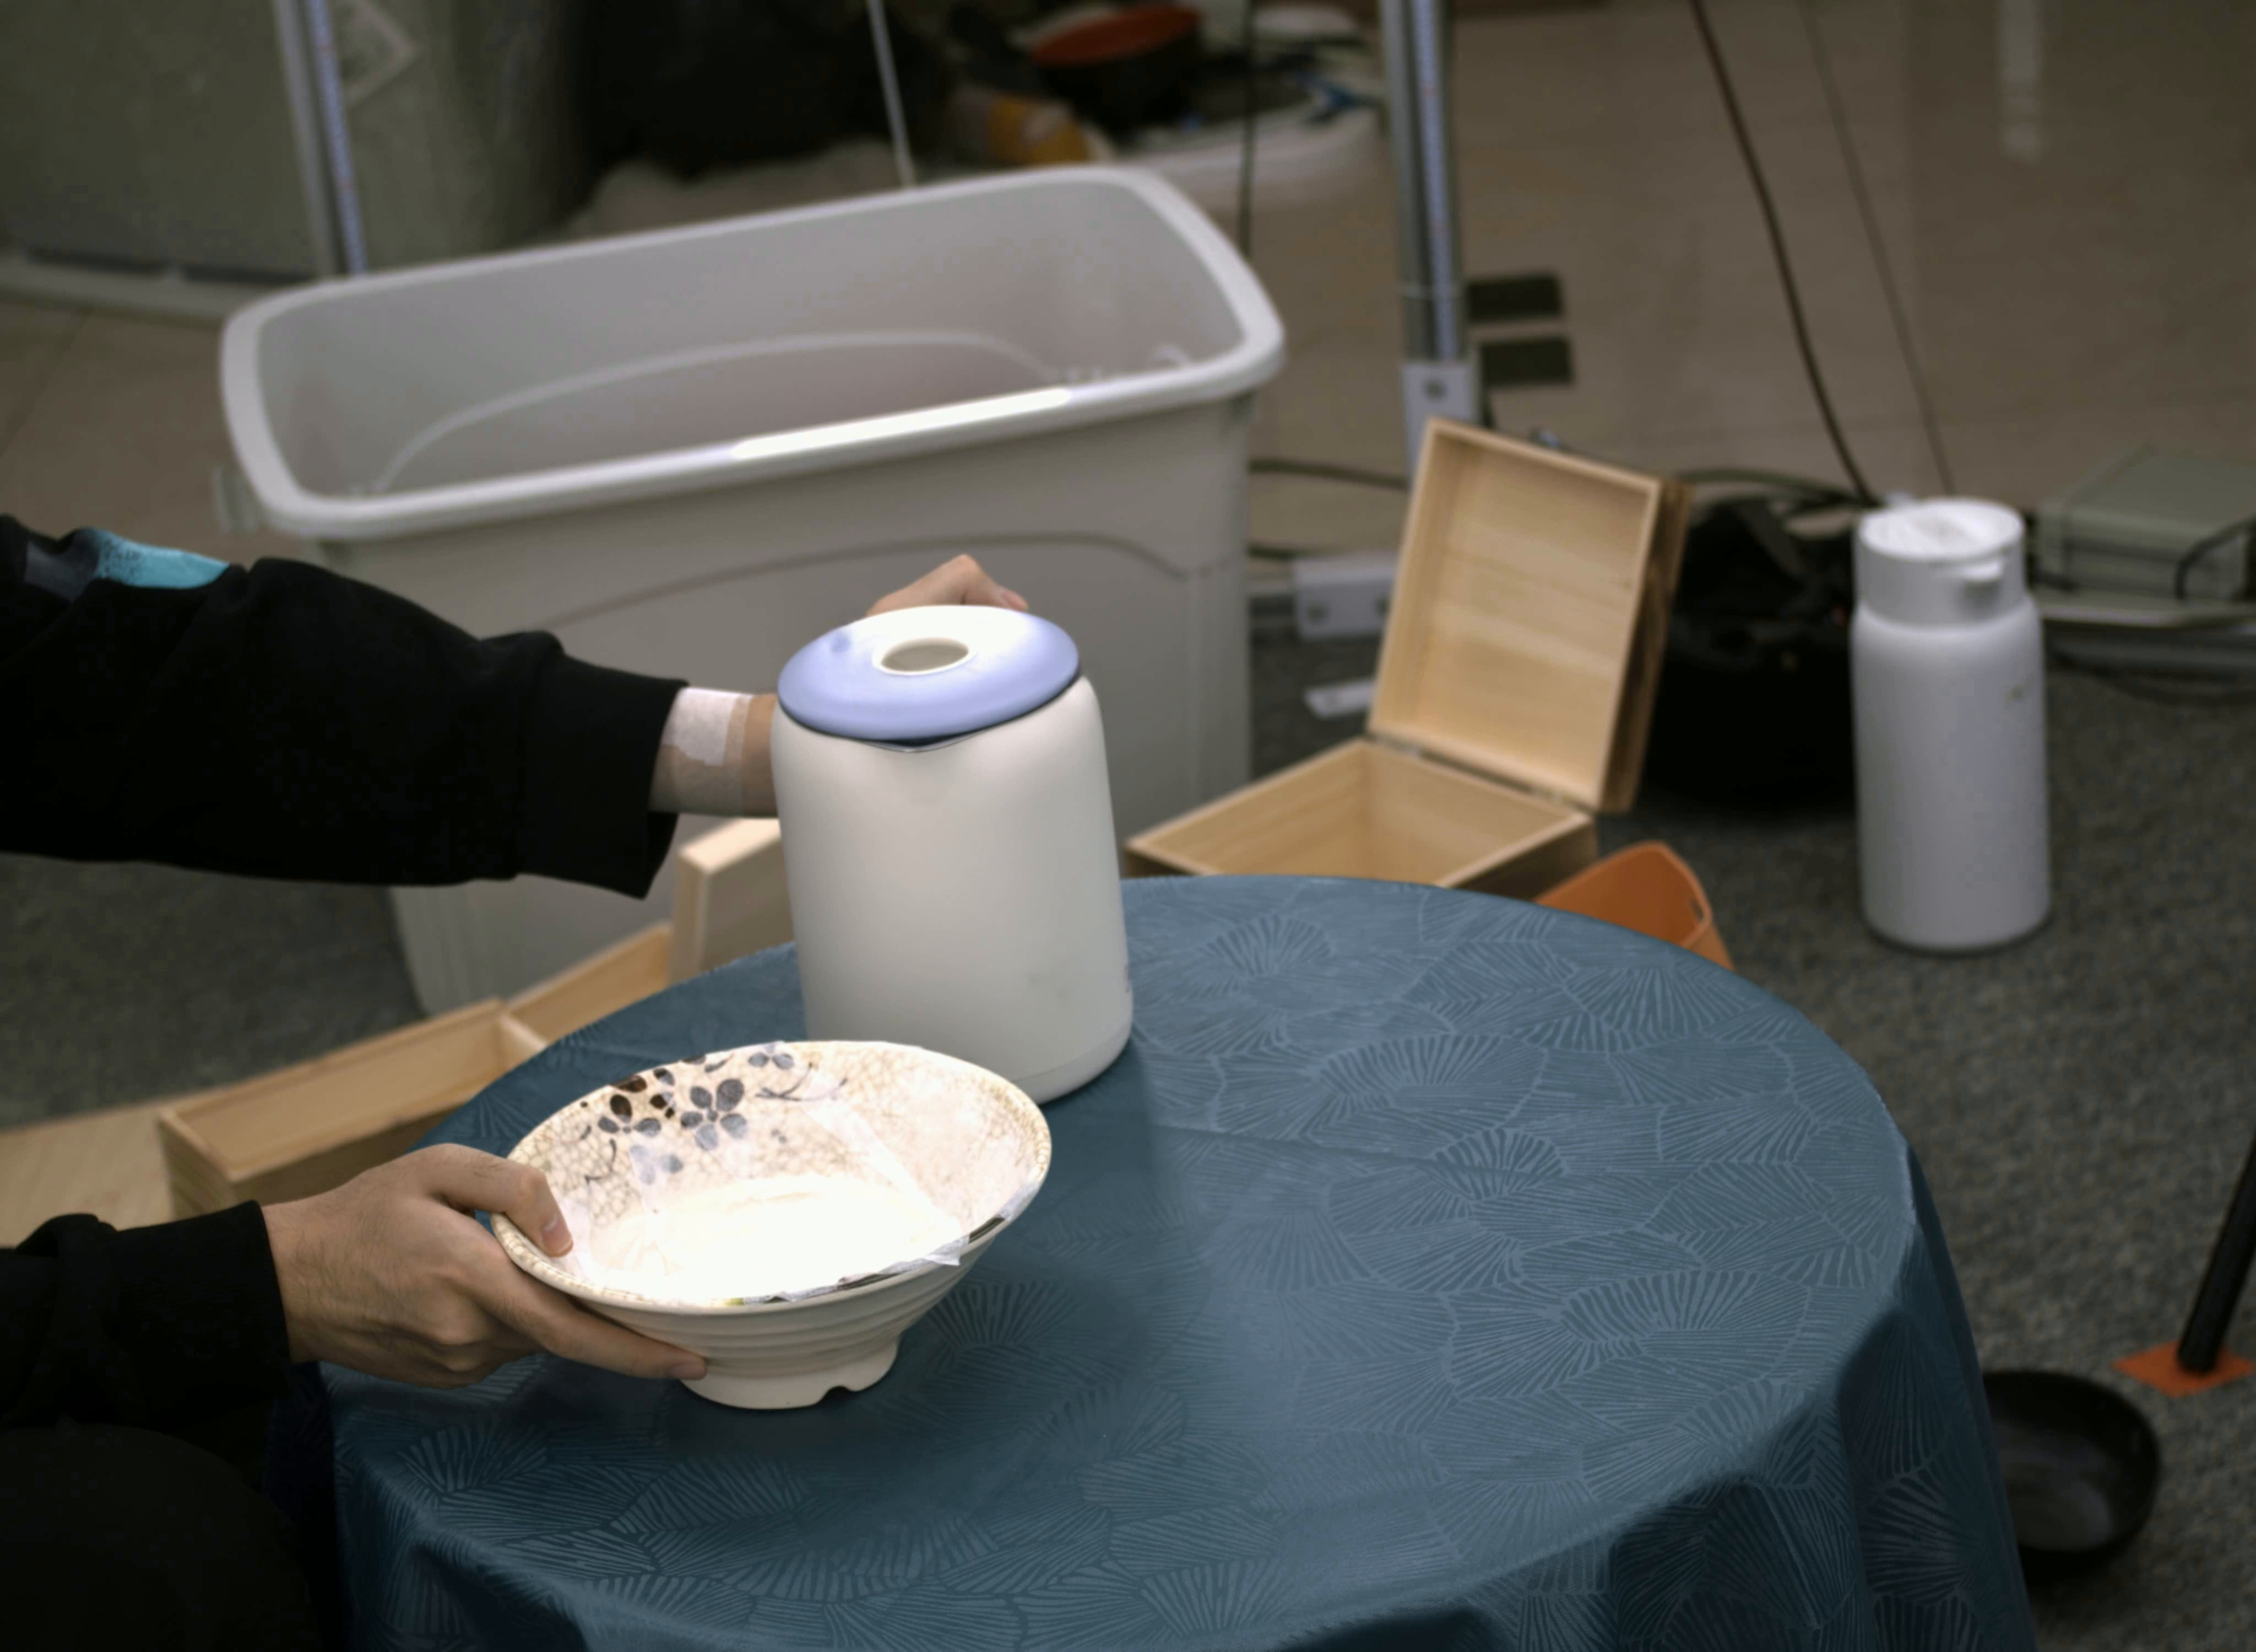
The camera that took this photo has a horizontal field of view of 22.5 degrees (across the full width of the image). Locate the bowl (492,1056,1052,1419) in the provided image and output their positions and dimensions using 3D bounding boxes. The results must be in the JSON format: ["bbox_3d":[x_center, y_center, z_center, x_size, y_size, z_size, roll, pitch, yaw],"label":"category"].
[{"bbox_3d":[-0.122,0.159,2.044,0.204,0.079,0.201,-8,22,3],"label":"bowl"}]

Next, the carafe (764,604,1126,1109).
[{"bbox_3d":[-0.072,0.004,2.246,0.132,0.185,0.188,-4,23,1],"label":"carafe"}]
